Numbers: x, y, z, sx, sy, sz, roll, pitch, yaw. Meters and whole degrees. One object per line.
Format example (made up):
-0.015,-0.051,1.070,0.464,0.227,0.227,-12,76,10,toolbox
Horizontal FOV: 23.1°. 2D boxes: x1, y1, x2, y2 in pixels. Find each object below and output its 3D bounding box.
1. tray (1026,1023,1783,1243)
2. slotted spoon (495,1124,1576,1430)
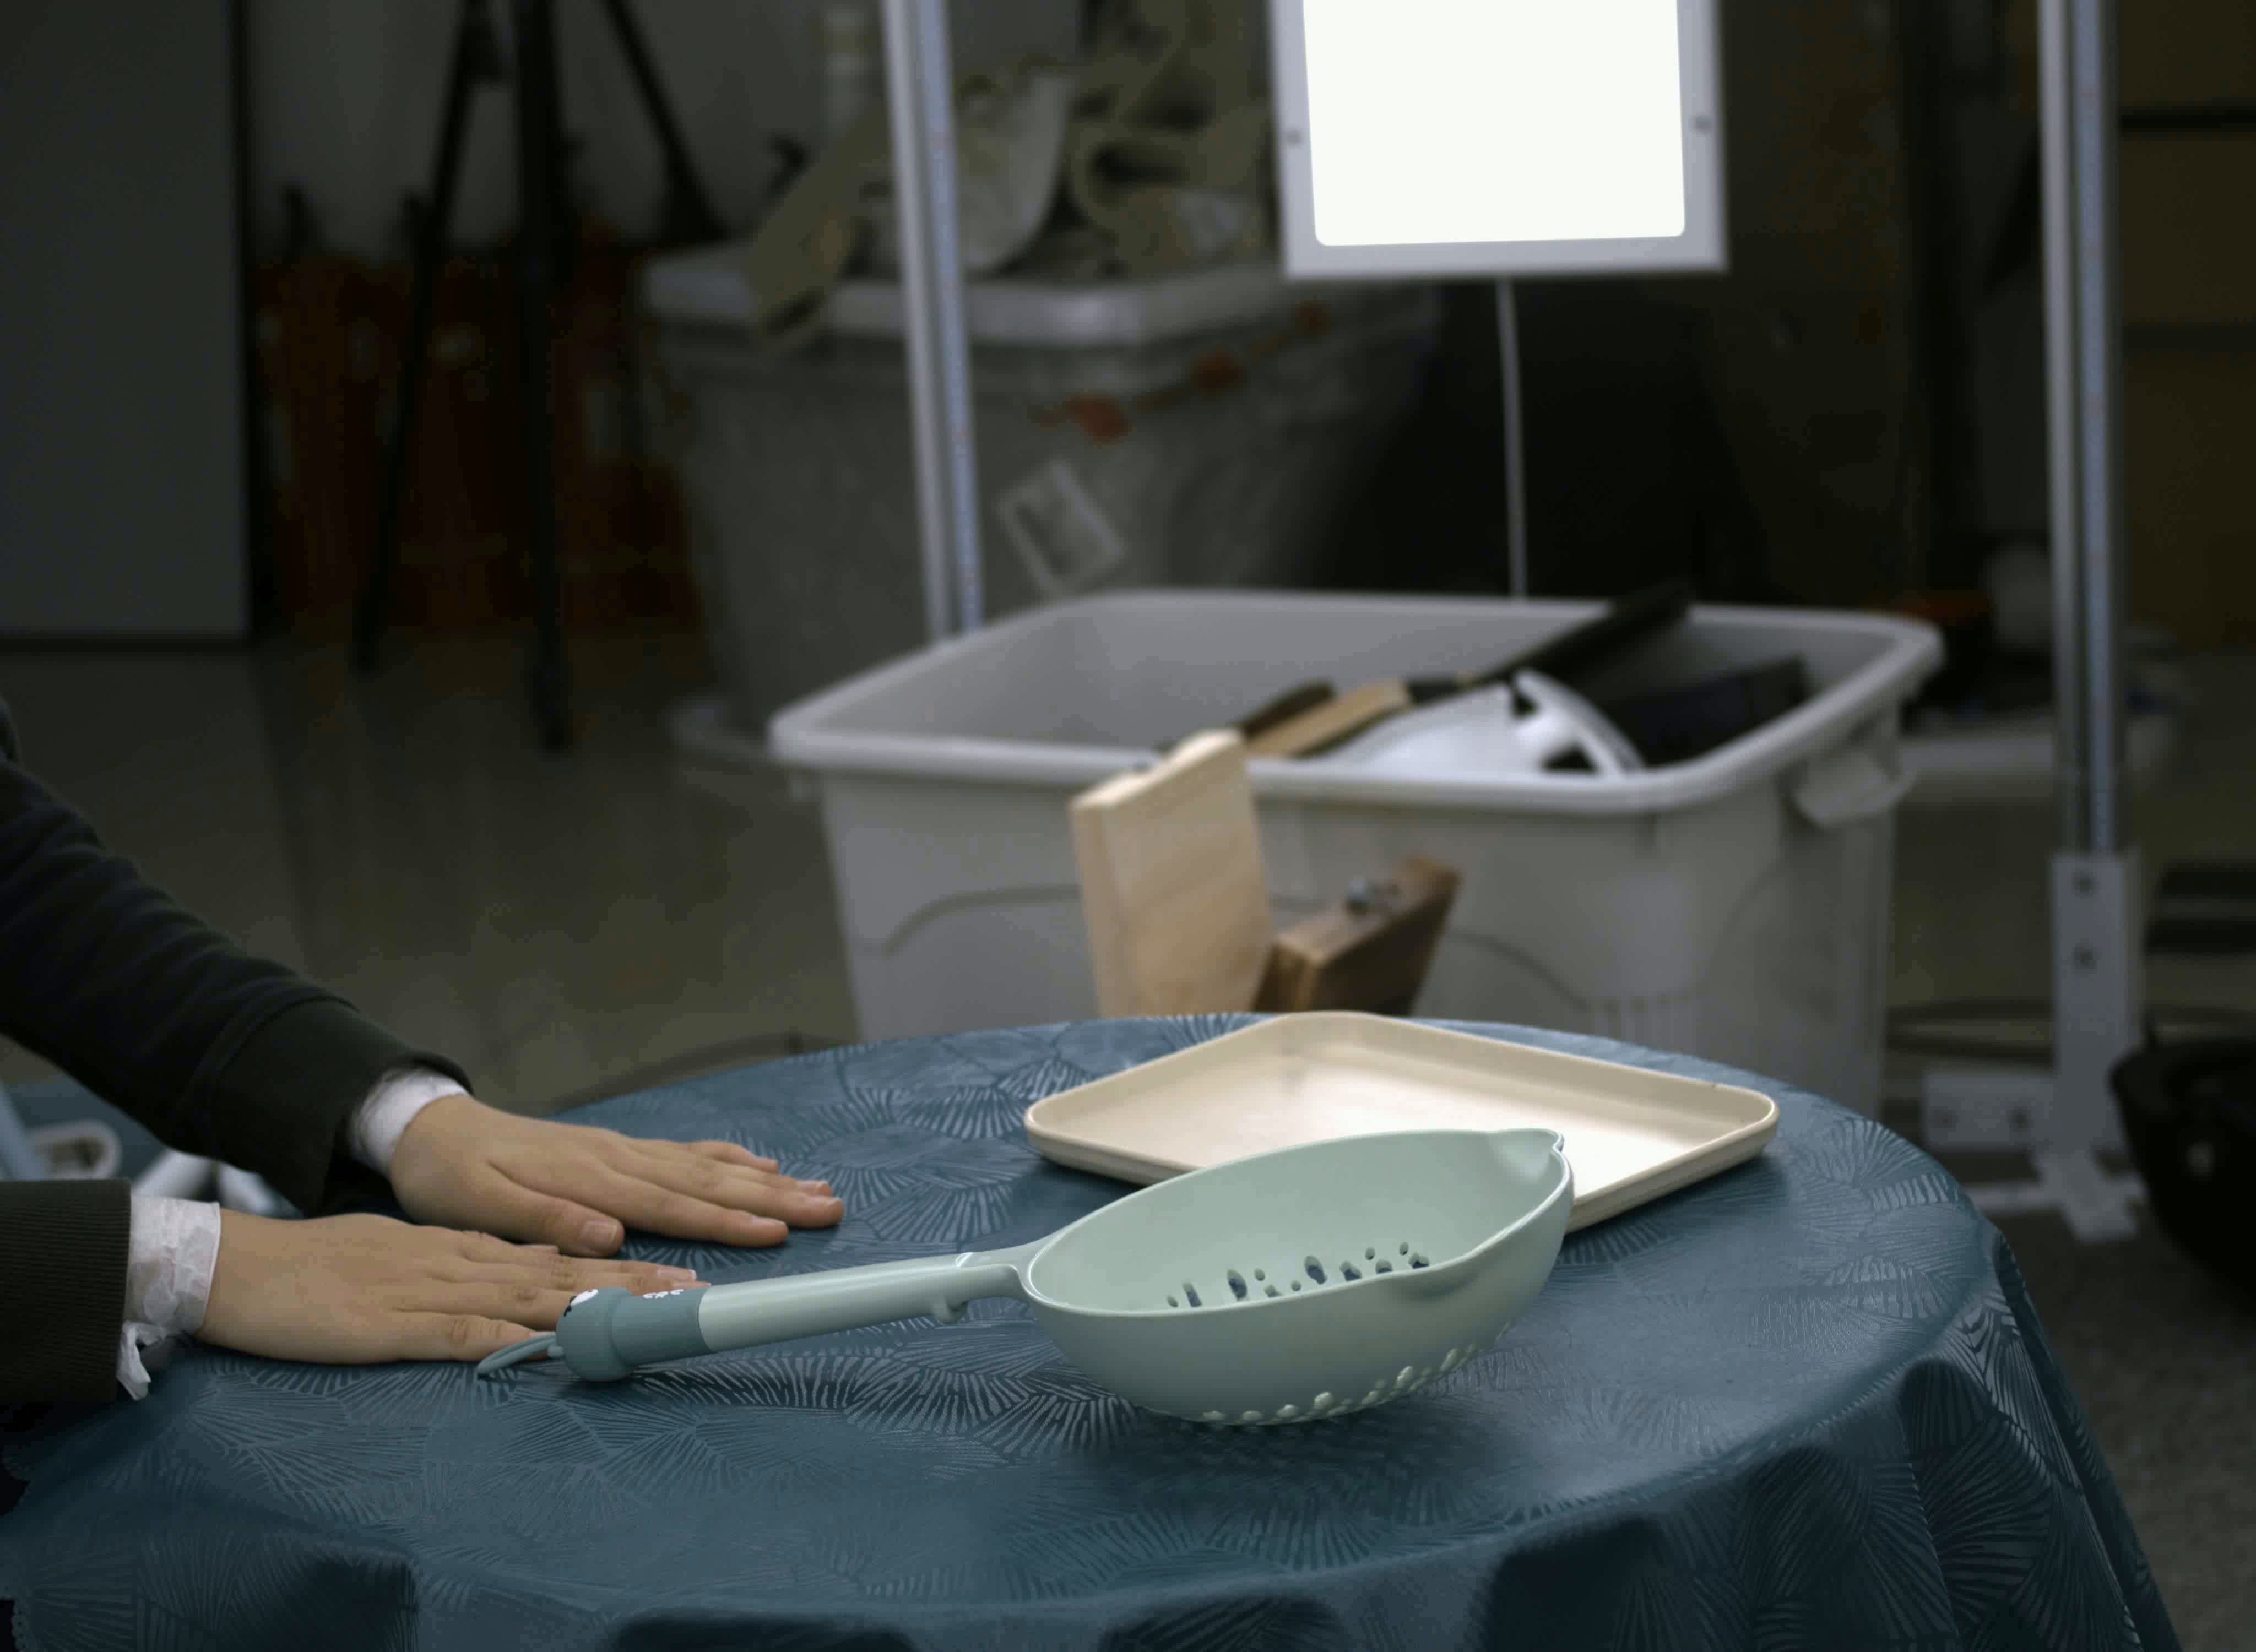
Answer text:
0.095,0.107,1.908,0.167,0.017,0.245,-17,17,-41,tray
-0.036,0.144,1.705,0.363,0.075,0.166,-1,14,20,slotted spoon
